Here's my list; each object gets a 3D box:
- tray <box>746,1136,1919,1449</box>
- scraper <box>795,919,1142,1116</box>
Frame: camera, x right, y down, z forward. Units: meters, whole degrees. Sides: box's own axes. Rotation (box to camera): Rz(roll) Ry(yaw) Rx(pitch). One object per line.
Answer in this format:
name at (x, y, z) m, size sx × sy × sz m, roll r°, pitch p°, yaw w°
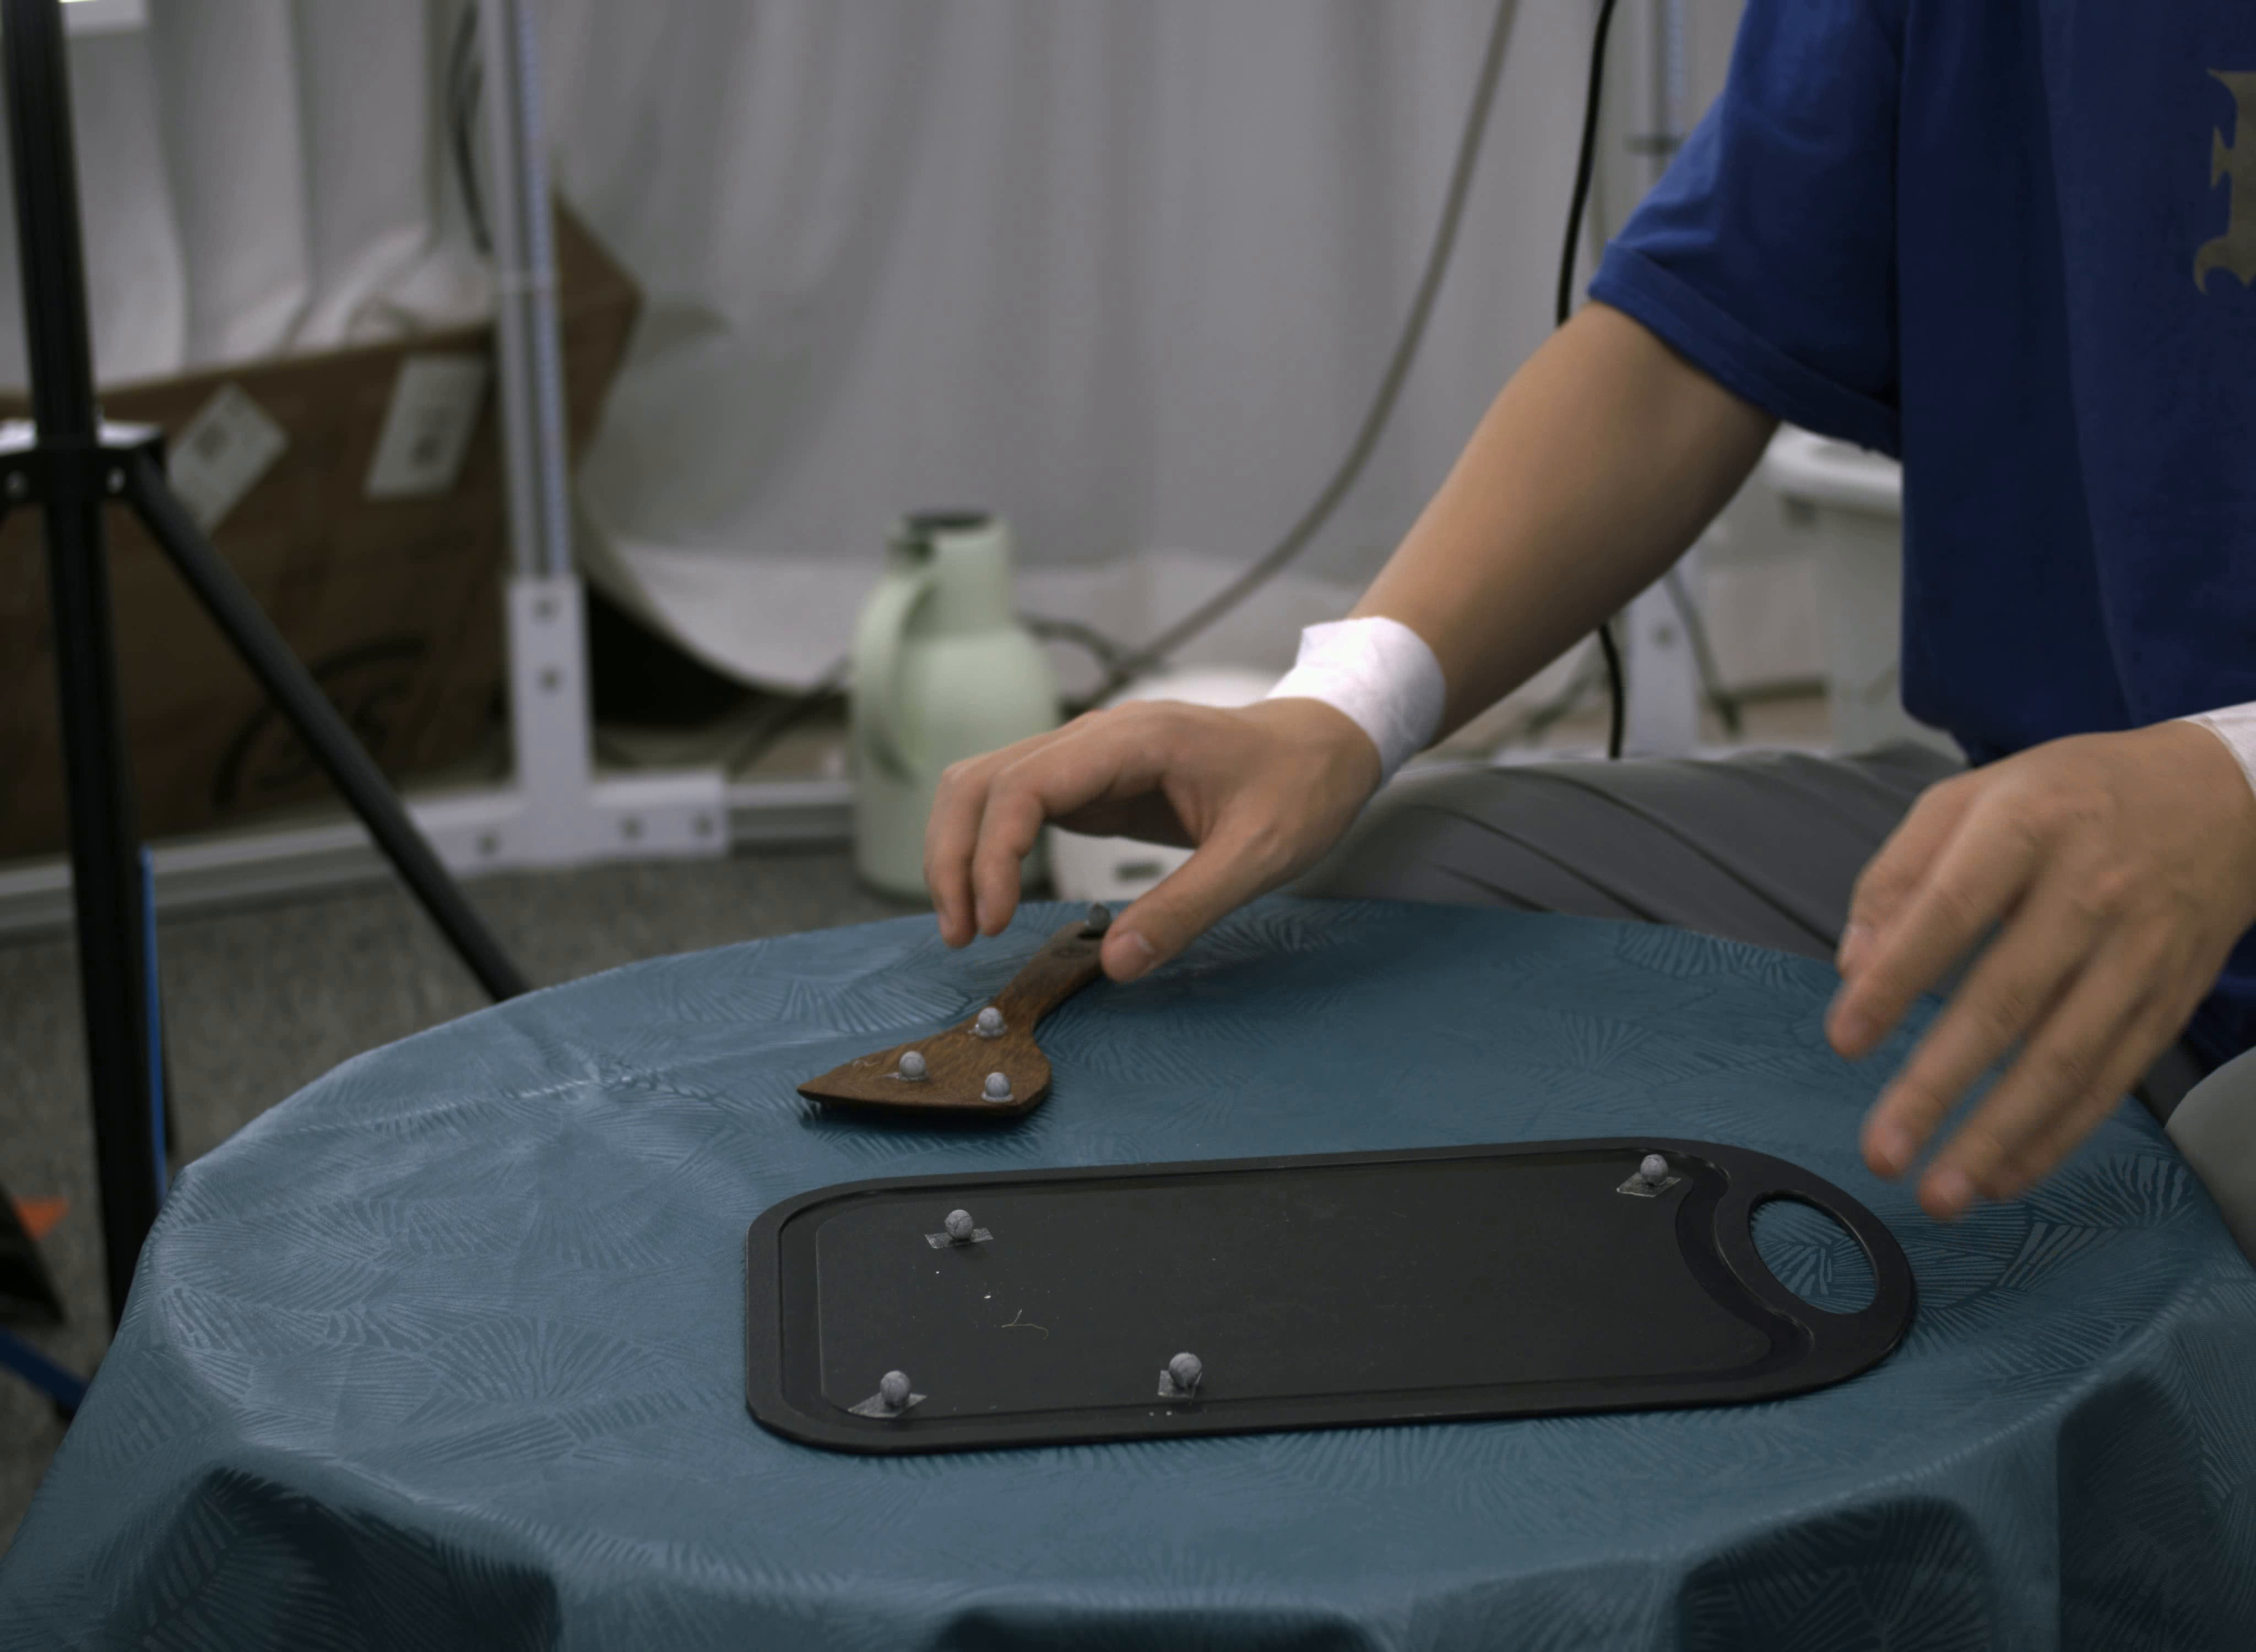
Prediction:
tray at (0.056, 0.125, 1.474) m, size 0.323 × 0.010 × 0.212 m, roll -3°, pitch 16°, yaw -1°
scraper at (-0.038, 0.061, 1.714) m, size 0.076 × 0.011 × 0.209 m, roll 4°, pitch 16°, yaw 18°
